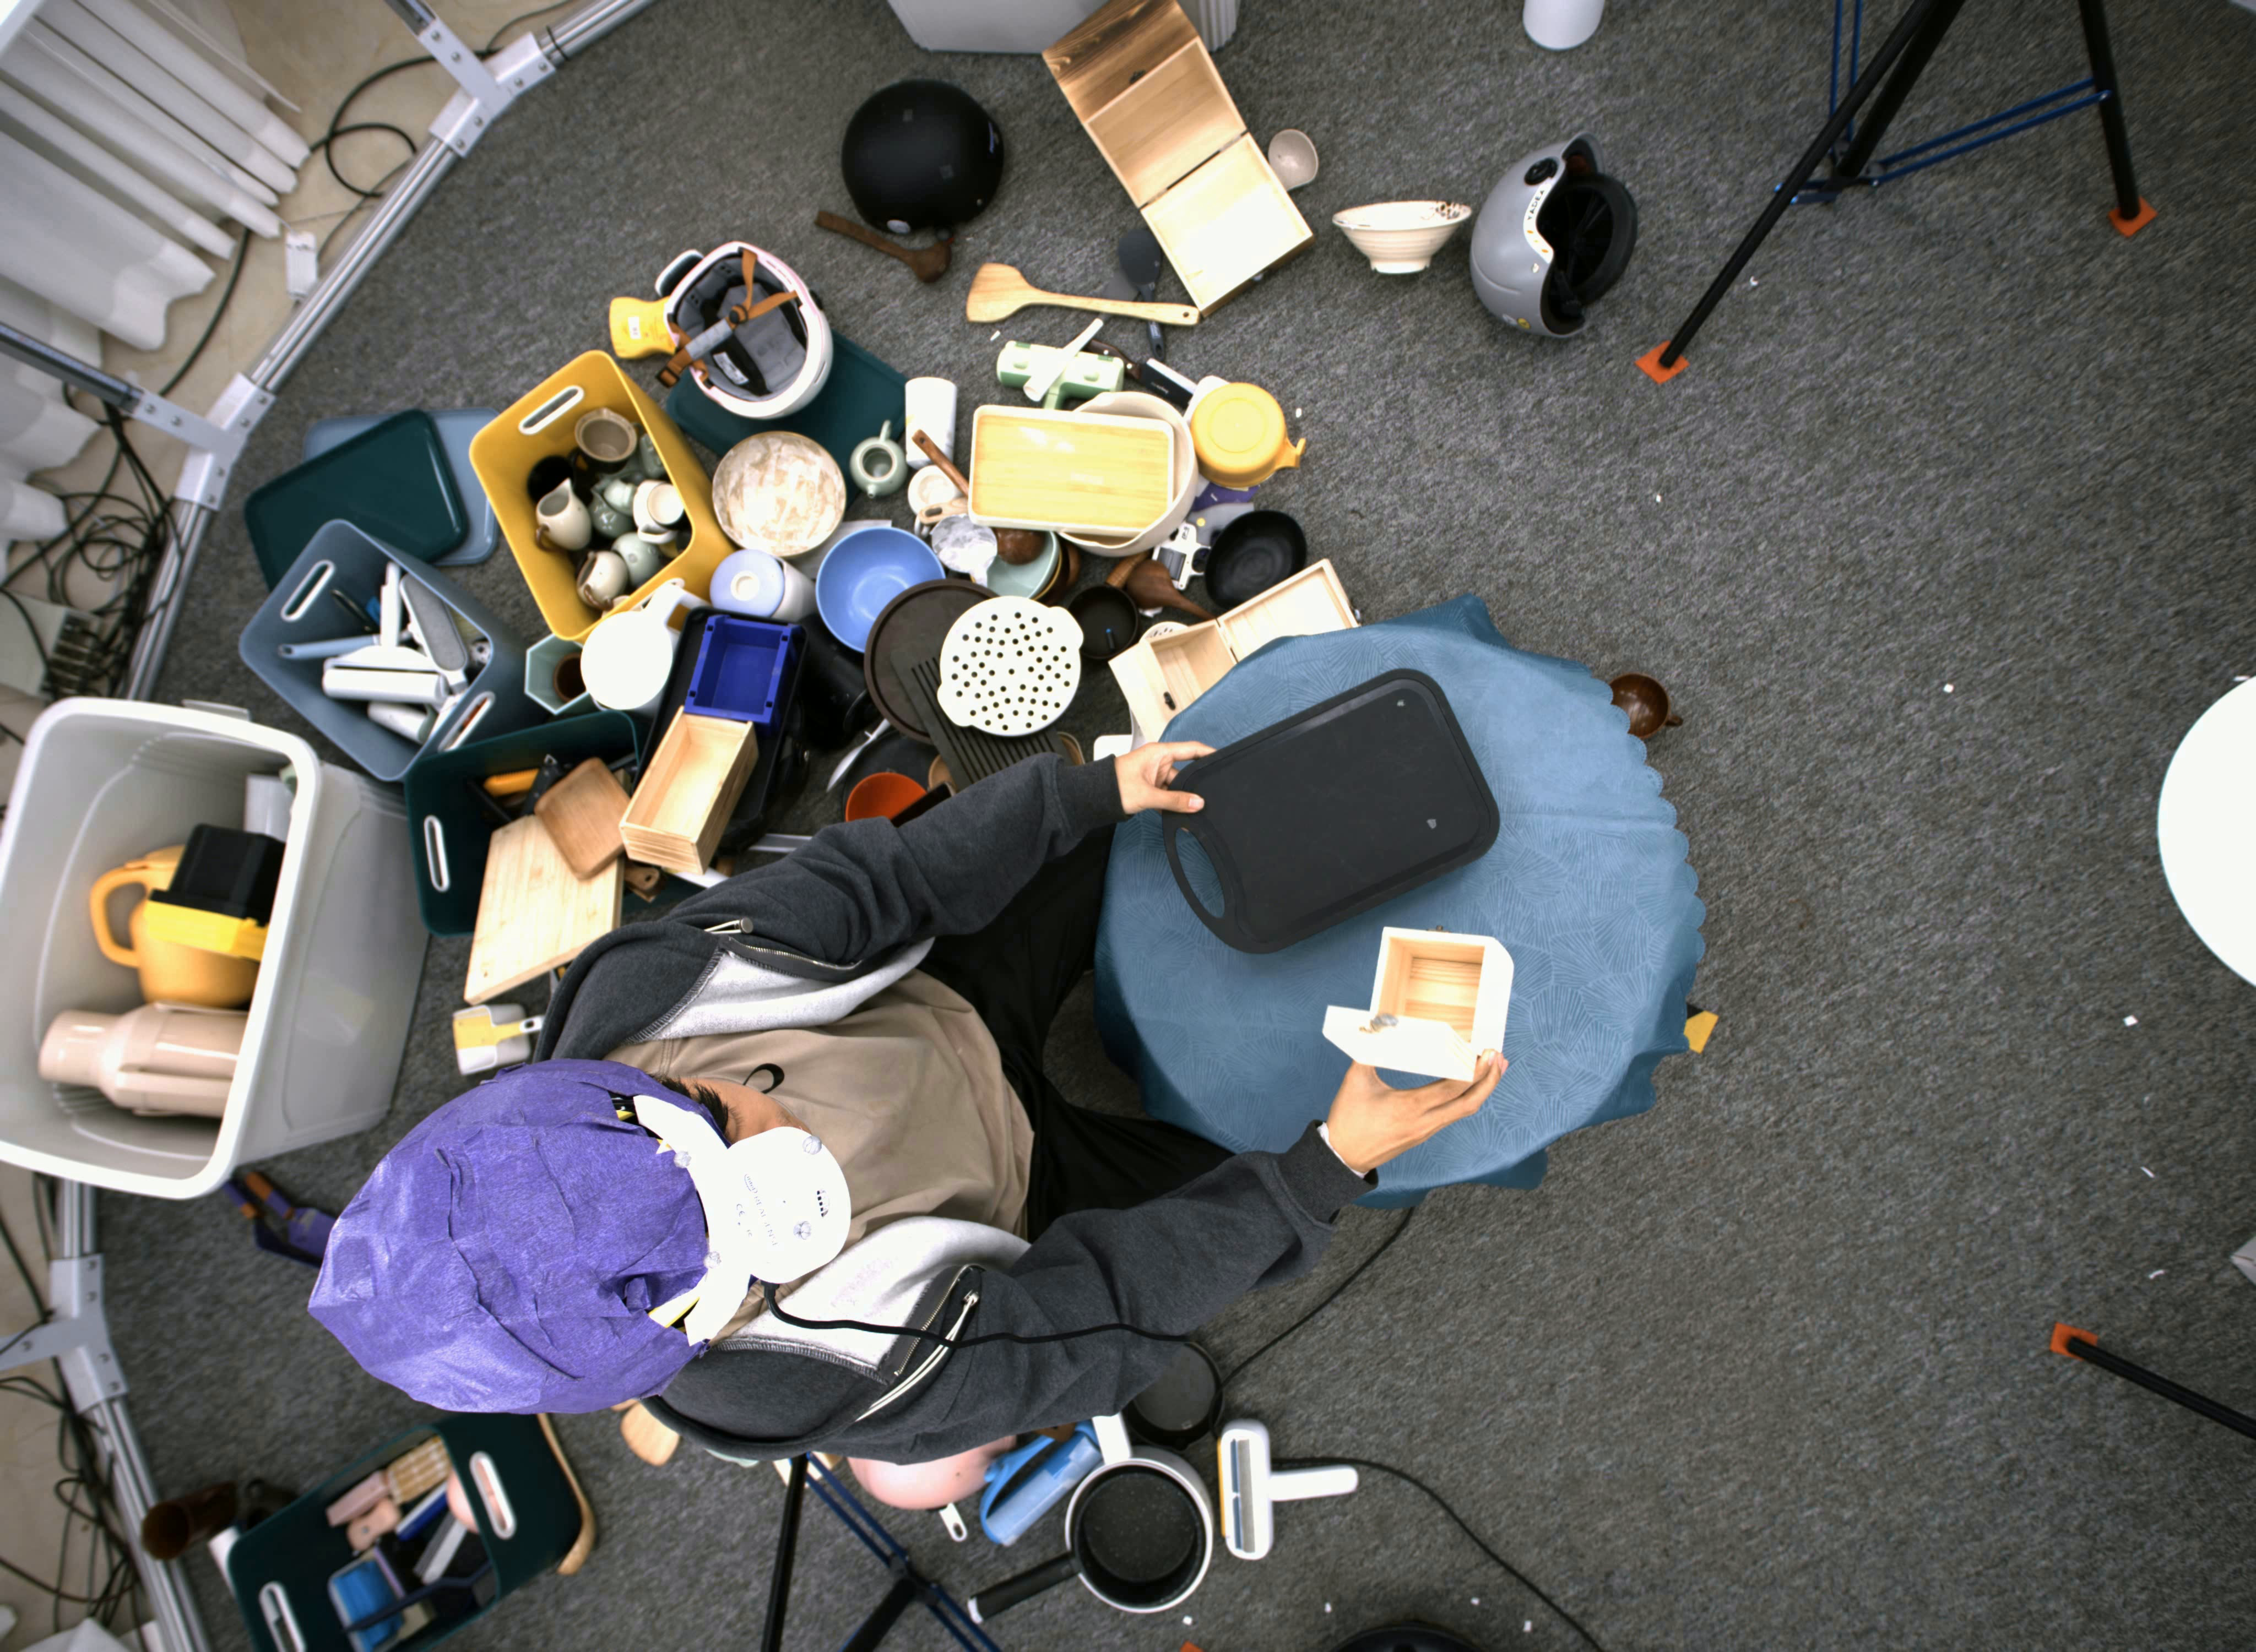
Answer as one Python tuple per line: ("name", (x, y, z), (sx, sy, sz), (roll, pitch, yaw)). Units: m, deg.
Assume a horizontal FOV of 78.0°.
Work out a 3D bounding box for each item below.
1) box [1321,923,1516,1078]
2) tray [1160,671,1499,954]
("box", (0.253, 0.140, 1.181), (0.103, 0.186, 0.132), (4, 74, 31))
("tray", (0.196, -0.010, 1.384), (0.326, 0.010, 0.211), (-24, 89, 4))
